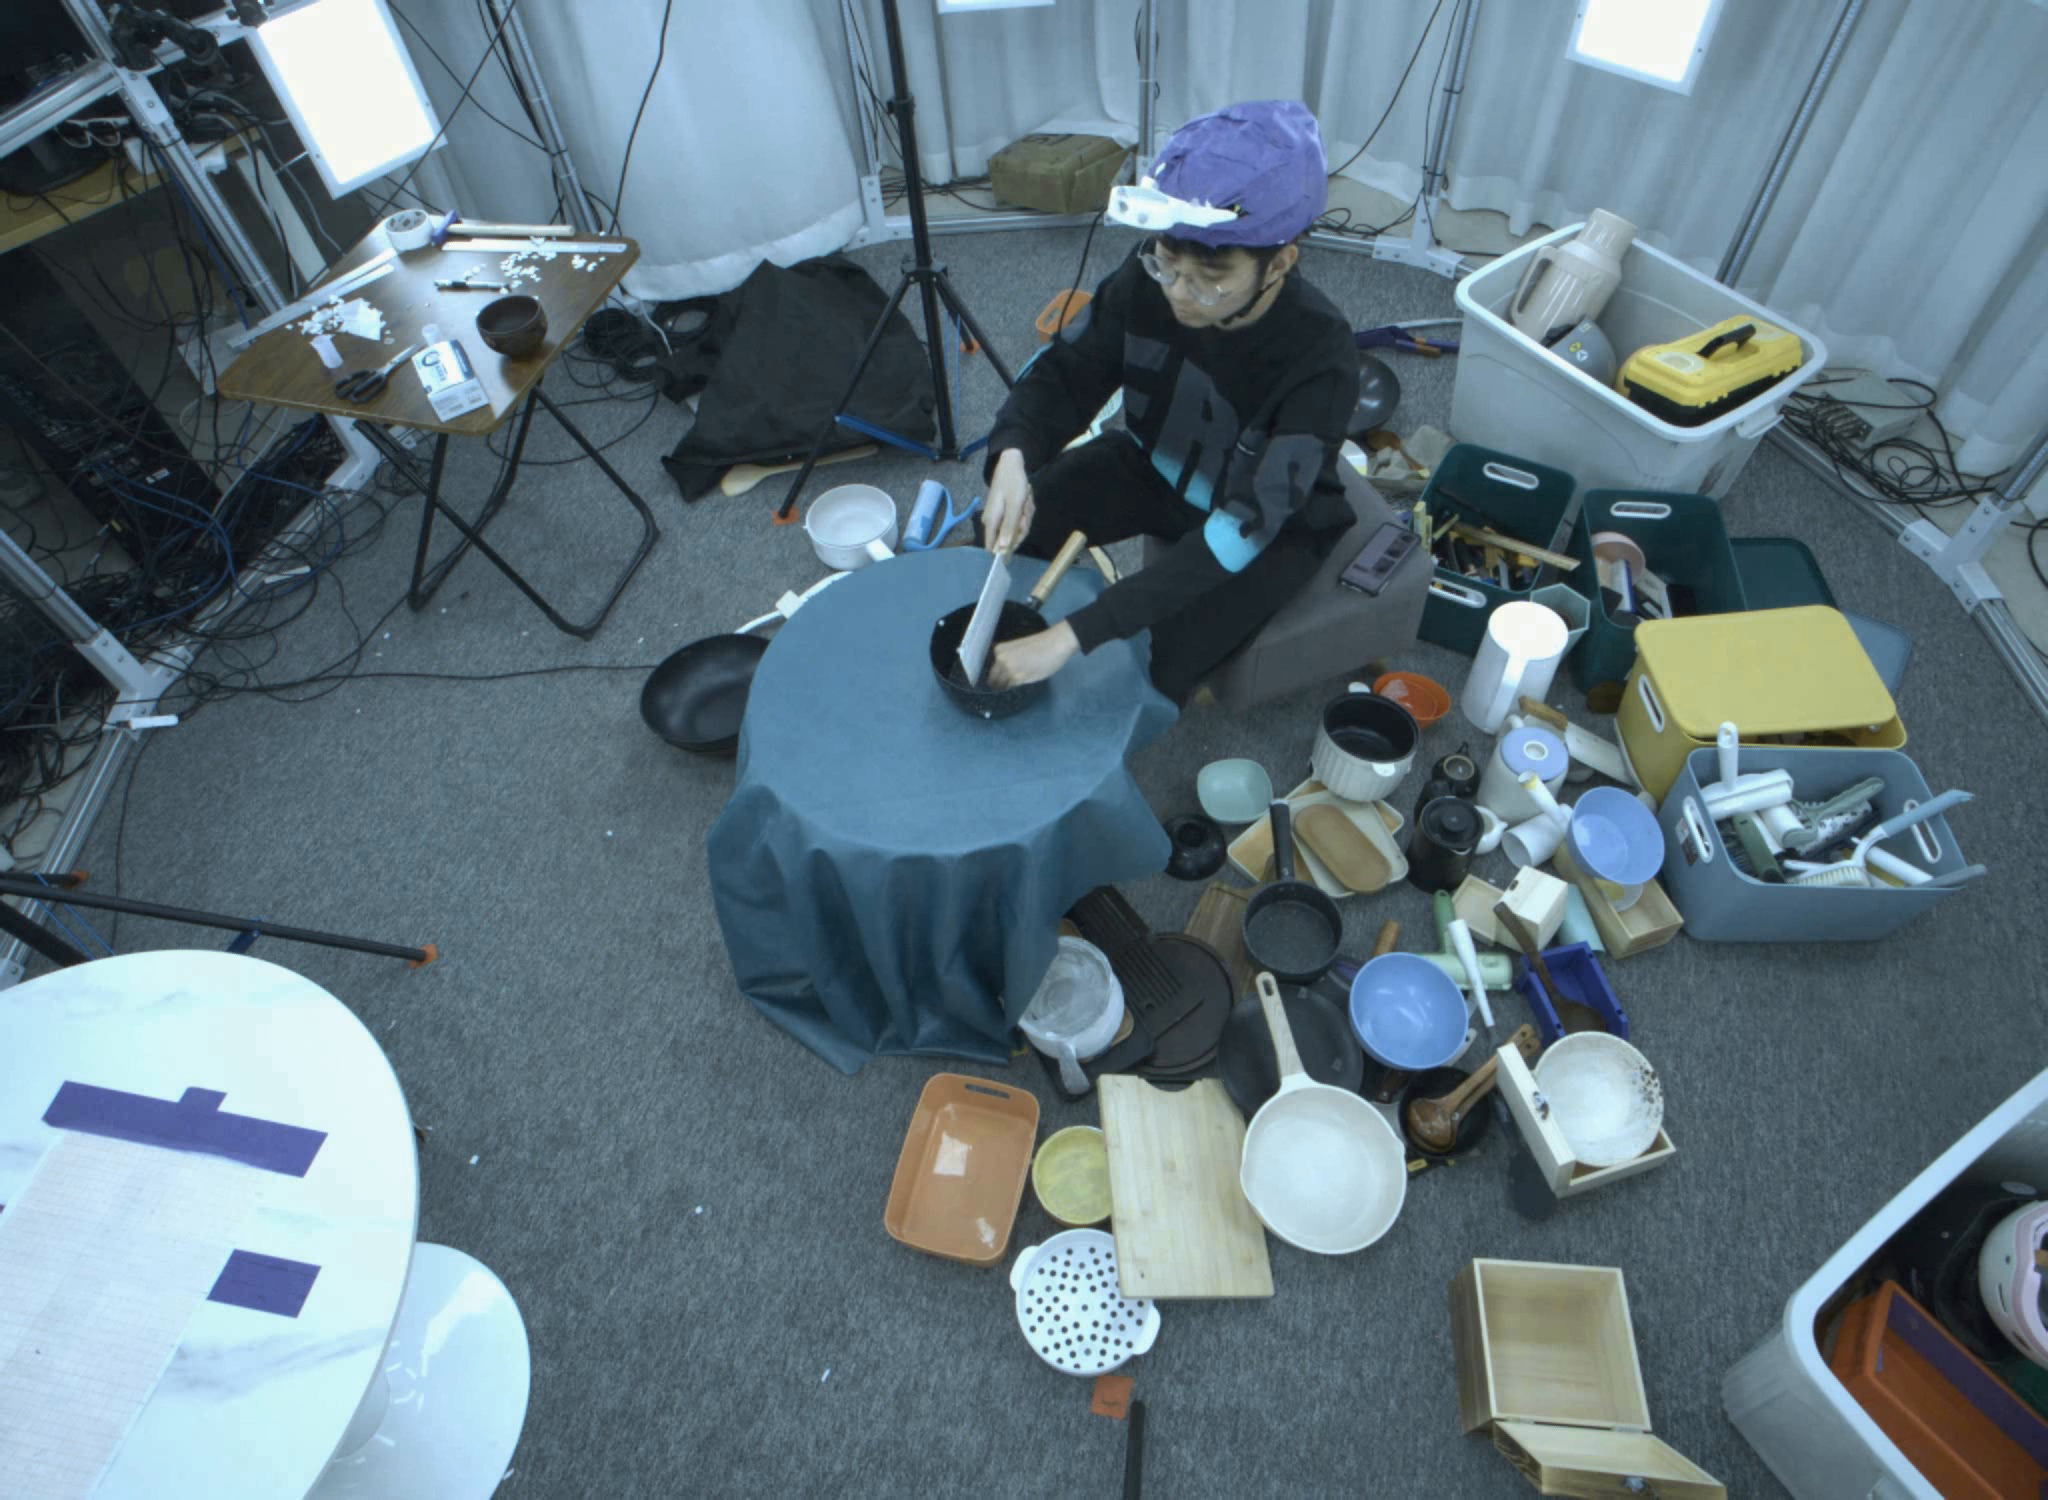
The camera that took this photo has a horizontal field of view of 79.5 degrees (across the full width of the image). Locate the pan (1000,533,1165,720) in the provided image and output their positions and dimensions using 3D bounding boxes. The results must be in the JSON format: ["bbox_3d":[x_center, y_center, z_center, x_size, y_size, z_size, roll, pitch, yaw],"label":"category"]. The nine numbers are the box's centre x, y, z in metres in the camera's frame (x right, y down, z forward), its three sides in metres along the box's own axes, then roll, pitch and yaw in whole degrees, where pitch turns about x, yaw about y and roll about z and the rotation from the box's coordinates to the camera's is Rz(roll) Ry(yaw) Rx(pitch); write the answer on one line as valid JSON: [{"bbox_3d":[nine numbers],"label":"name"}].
[{"bbox_3d":[0.107,-0.189,1.849,0.204,0.109,0.344,29,62,22],"label":"pan"}]

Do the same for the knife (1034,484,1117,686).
[{"bbox_3d":[0.073,-0.246,1.771,0.021,0.115,0.315,16,74,19],"label":"knife"}]
